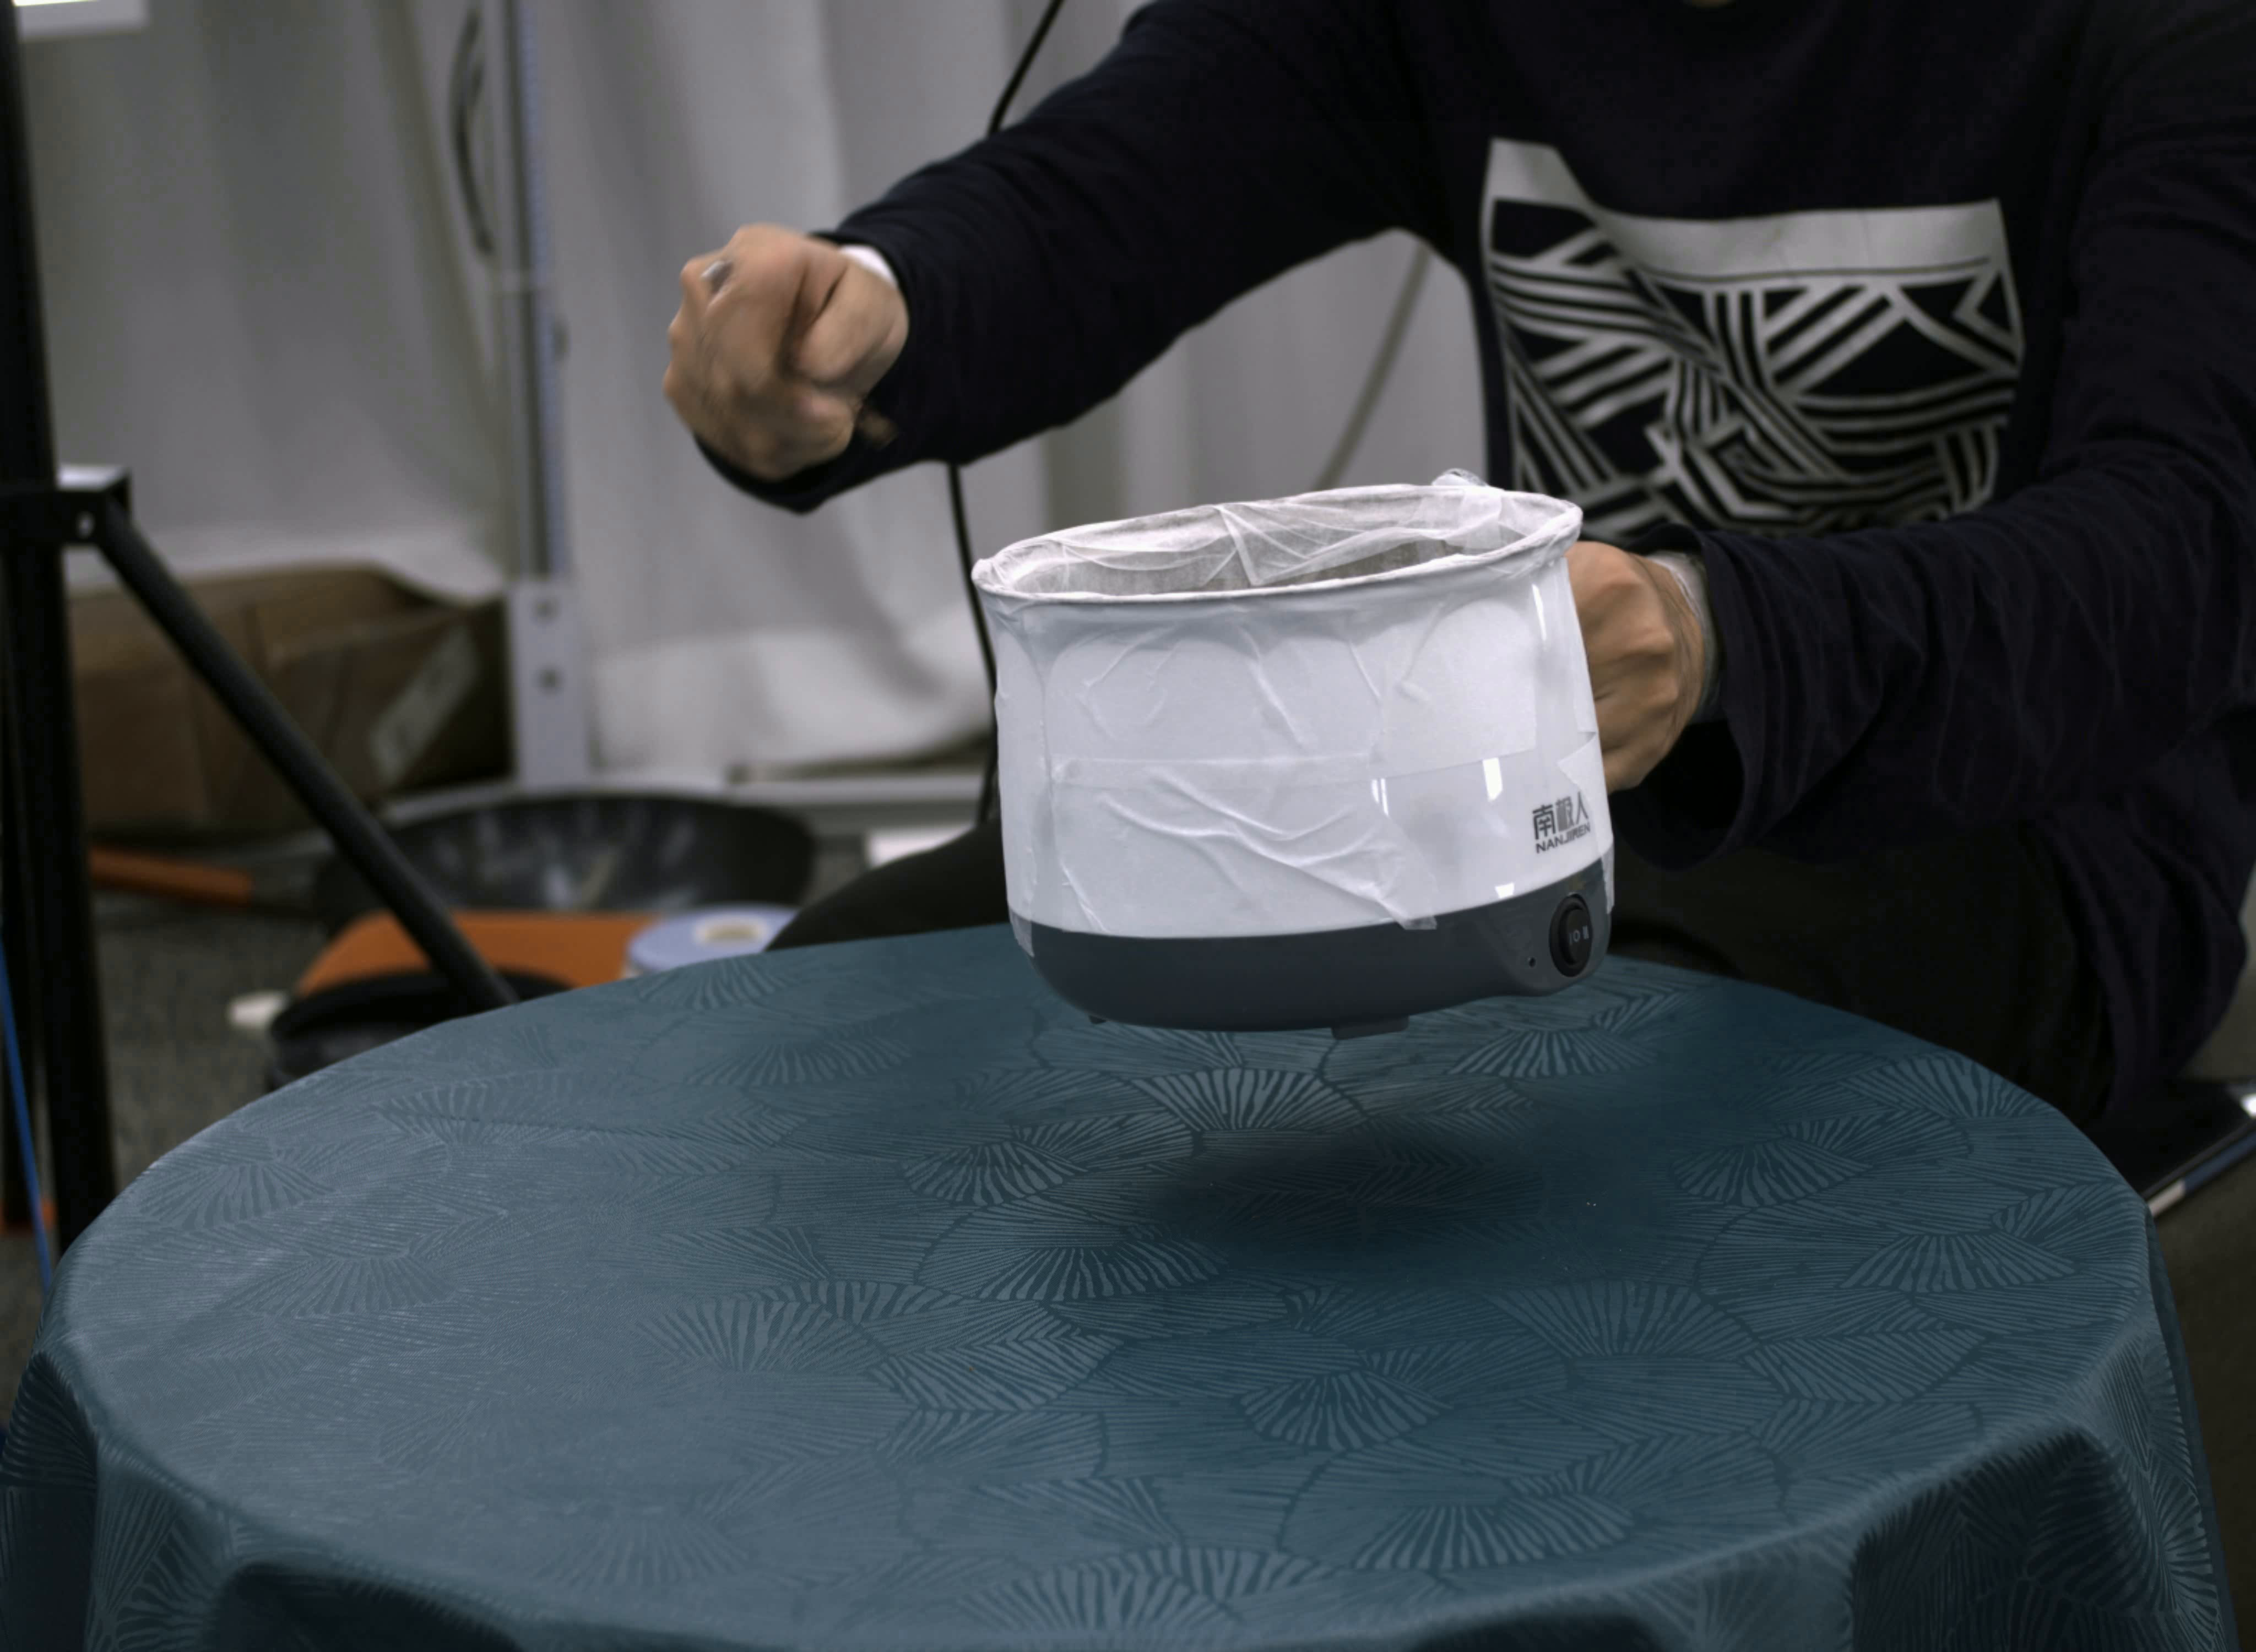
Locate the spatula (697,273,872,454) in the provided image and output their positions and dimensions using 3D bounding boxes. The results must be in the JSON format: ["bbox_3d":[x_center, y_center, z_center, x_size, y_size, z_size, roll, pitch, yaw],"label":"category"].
[{"bbox_3d":[-0.104,-0.134,1.608,0.009,0.072,0.216,-44,4,-1],"label":"spatula"}]

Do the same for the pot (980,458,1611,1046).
[{"bbox_3d":[0.064,-0.027,1.556,0.182,0.136,0.229,4,16,34],"label":"pot"}]
